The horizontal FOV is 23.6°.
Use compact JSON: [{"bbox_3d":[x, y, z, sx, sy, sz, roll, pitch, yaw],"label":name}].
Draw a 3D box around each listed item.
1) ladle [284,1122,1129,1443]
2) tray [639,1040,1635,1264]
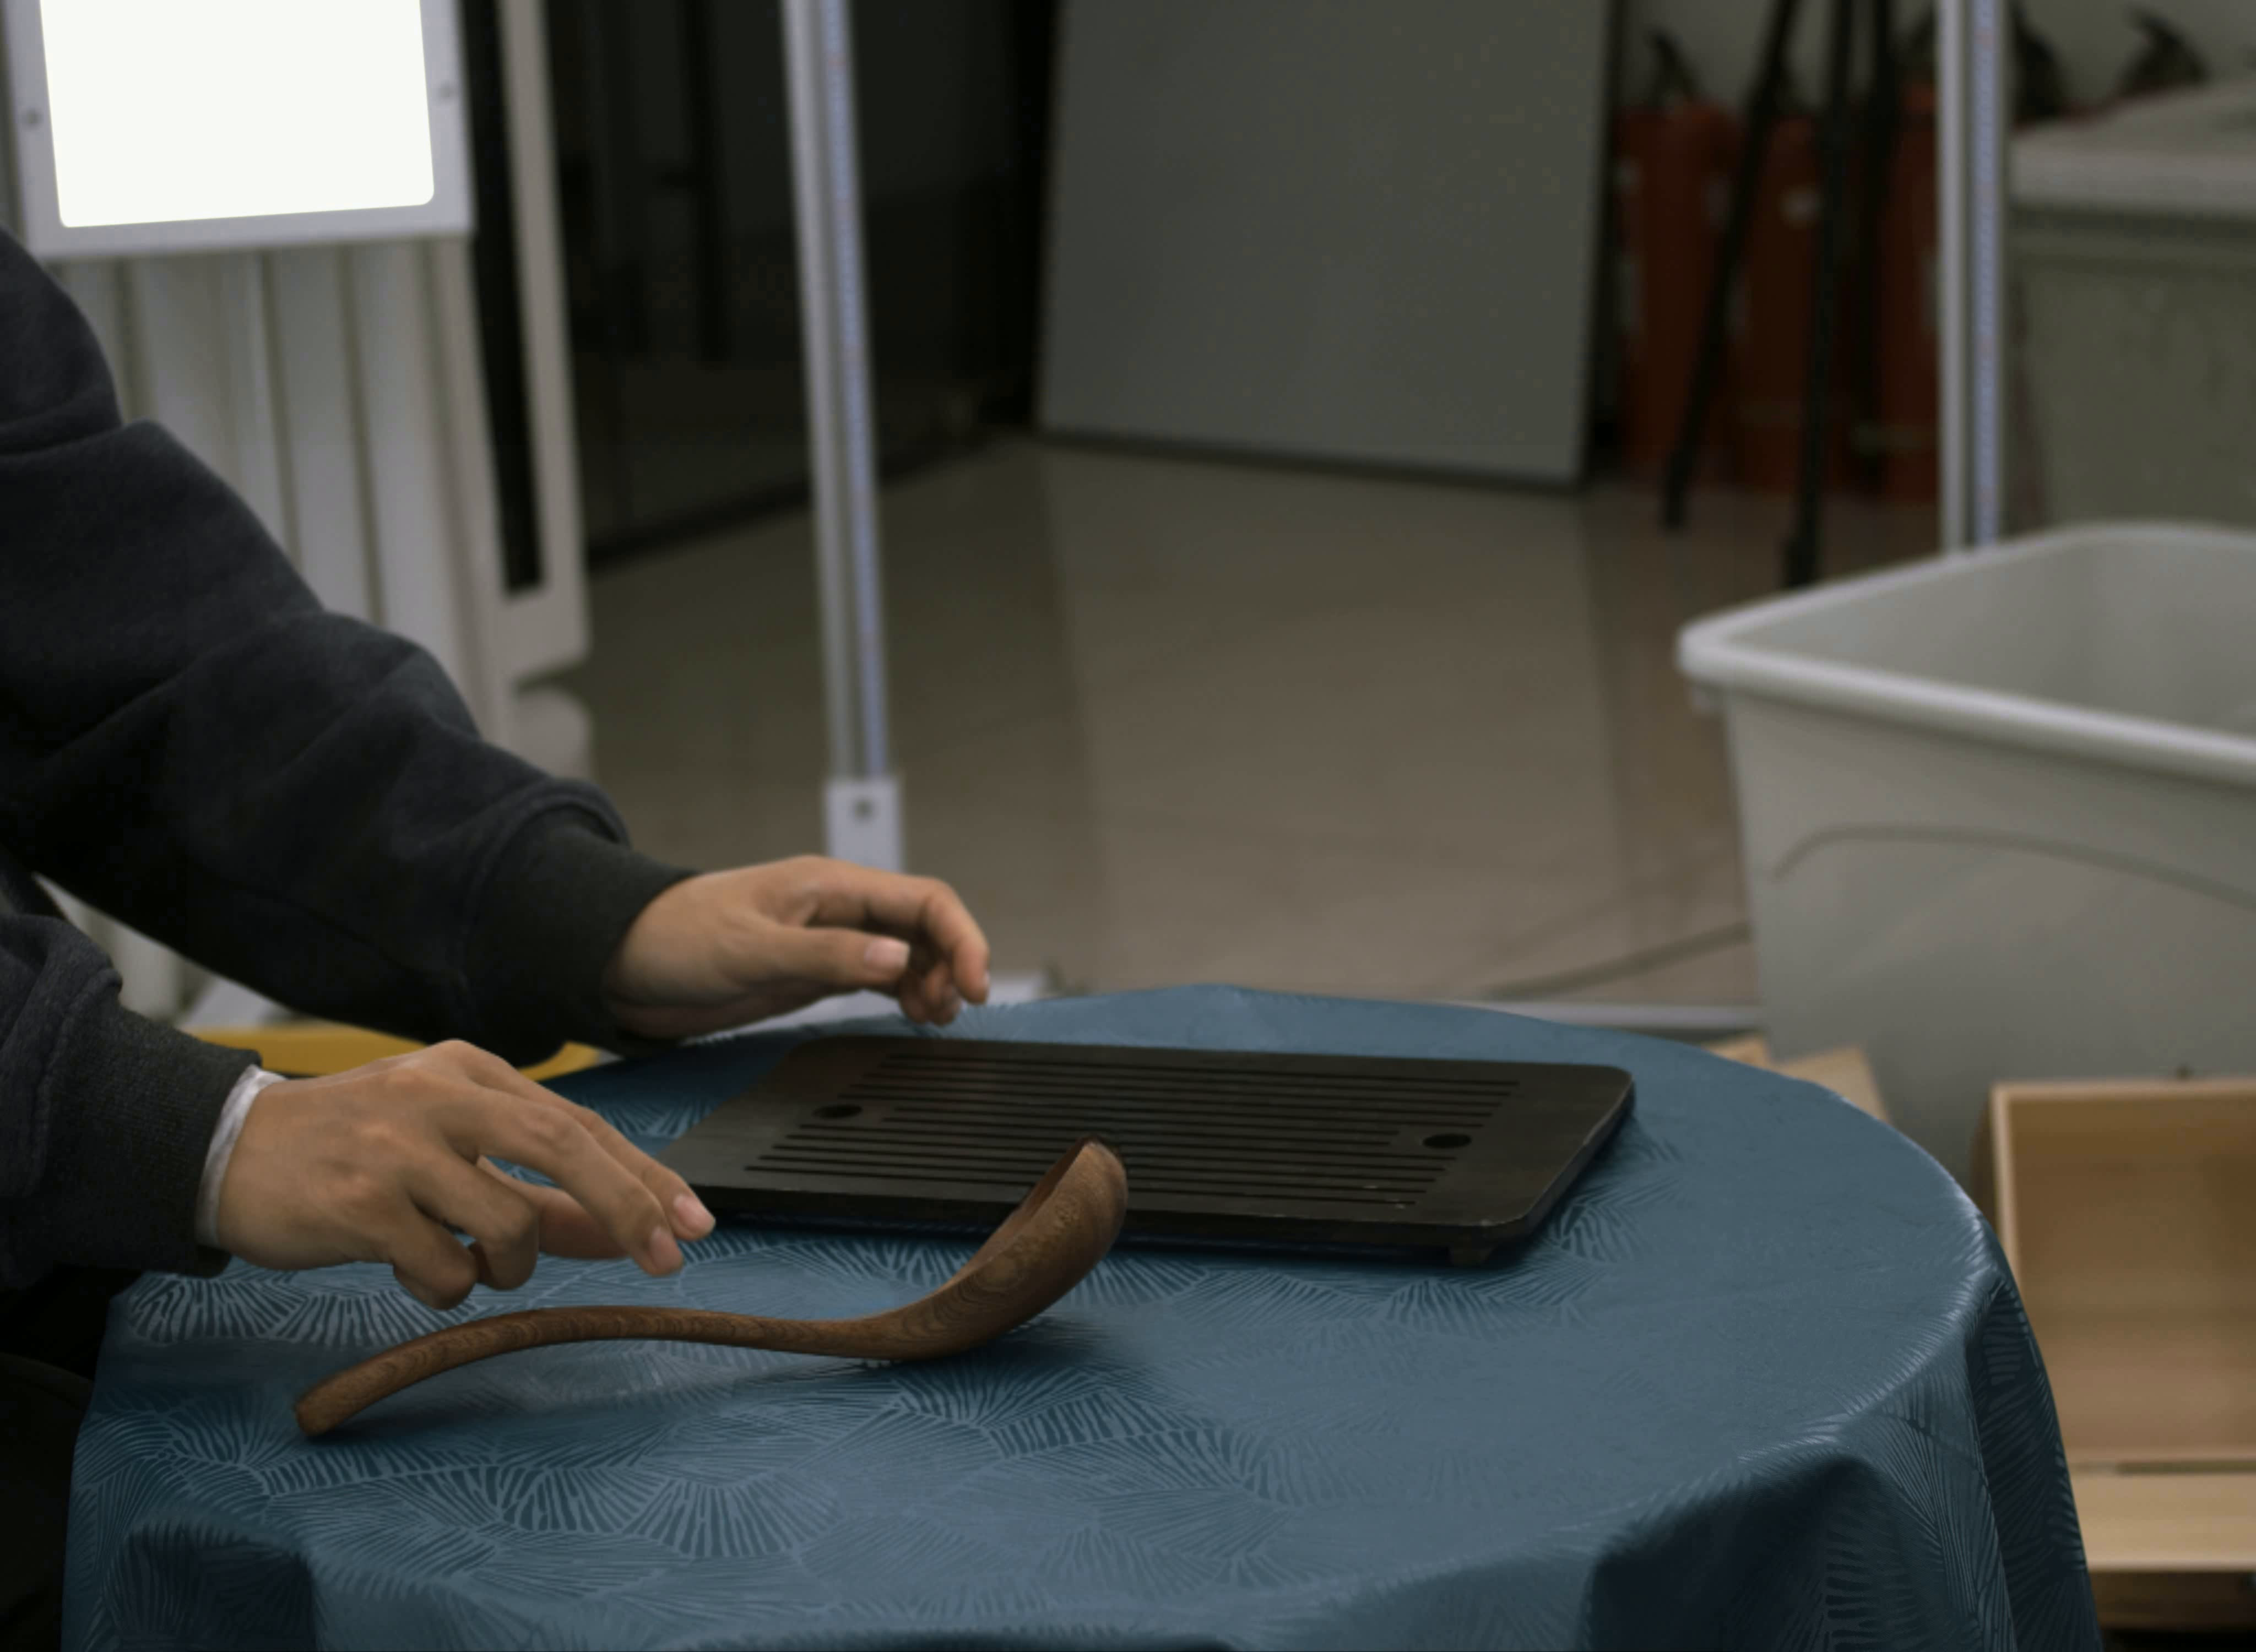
[{"bbox_3d":[-0.124,0.135,1.611,0.256,0.066,0.077,-7,-12,-8],"label":"ladle"},{"bbox_3d":[0.005,0.107,1.789,0.305,0.019,0.168,1,14,21],"label":"tray"}]
